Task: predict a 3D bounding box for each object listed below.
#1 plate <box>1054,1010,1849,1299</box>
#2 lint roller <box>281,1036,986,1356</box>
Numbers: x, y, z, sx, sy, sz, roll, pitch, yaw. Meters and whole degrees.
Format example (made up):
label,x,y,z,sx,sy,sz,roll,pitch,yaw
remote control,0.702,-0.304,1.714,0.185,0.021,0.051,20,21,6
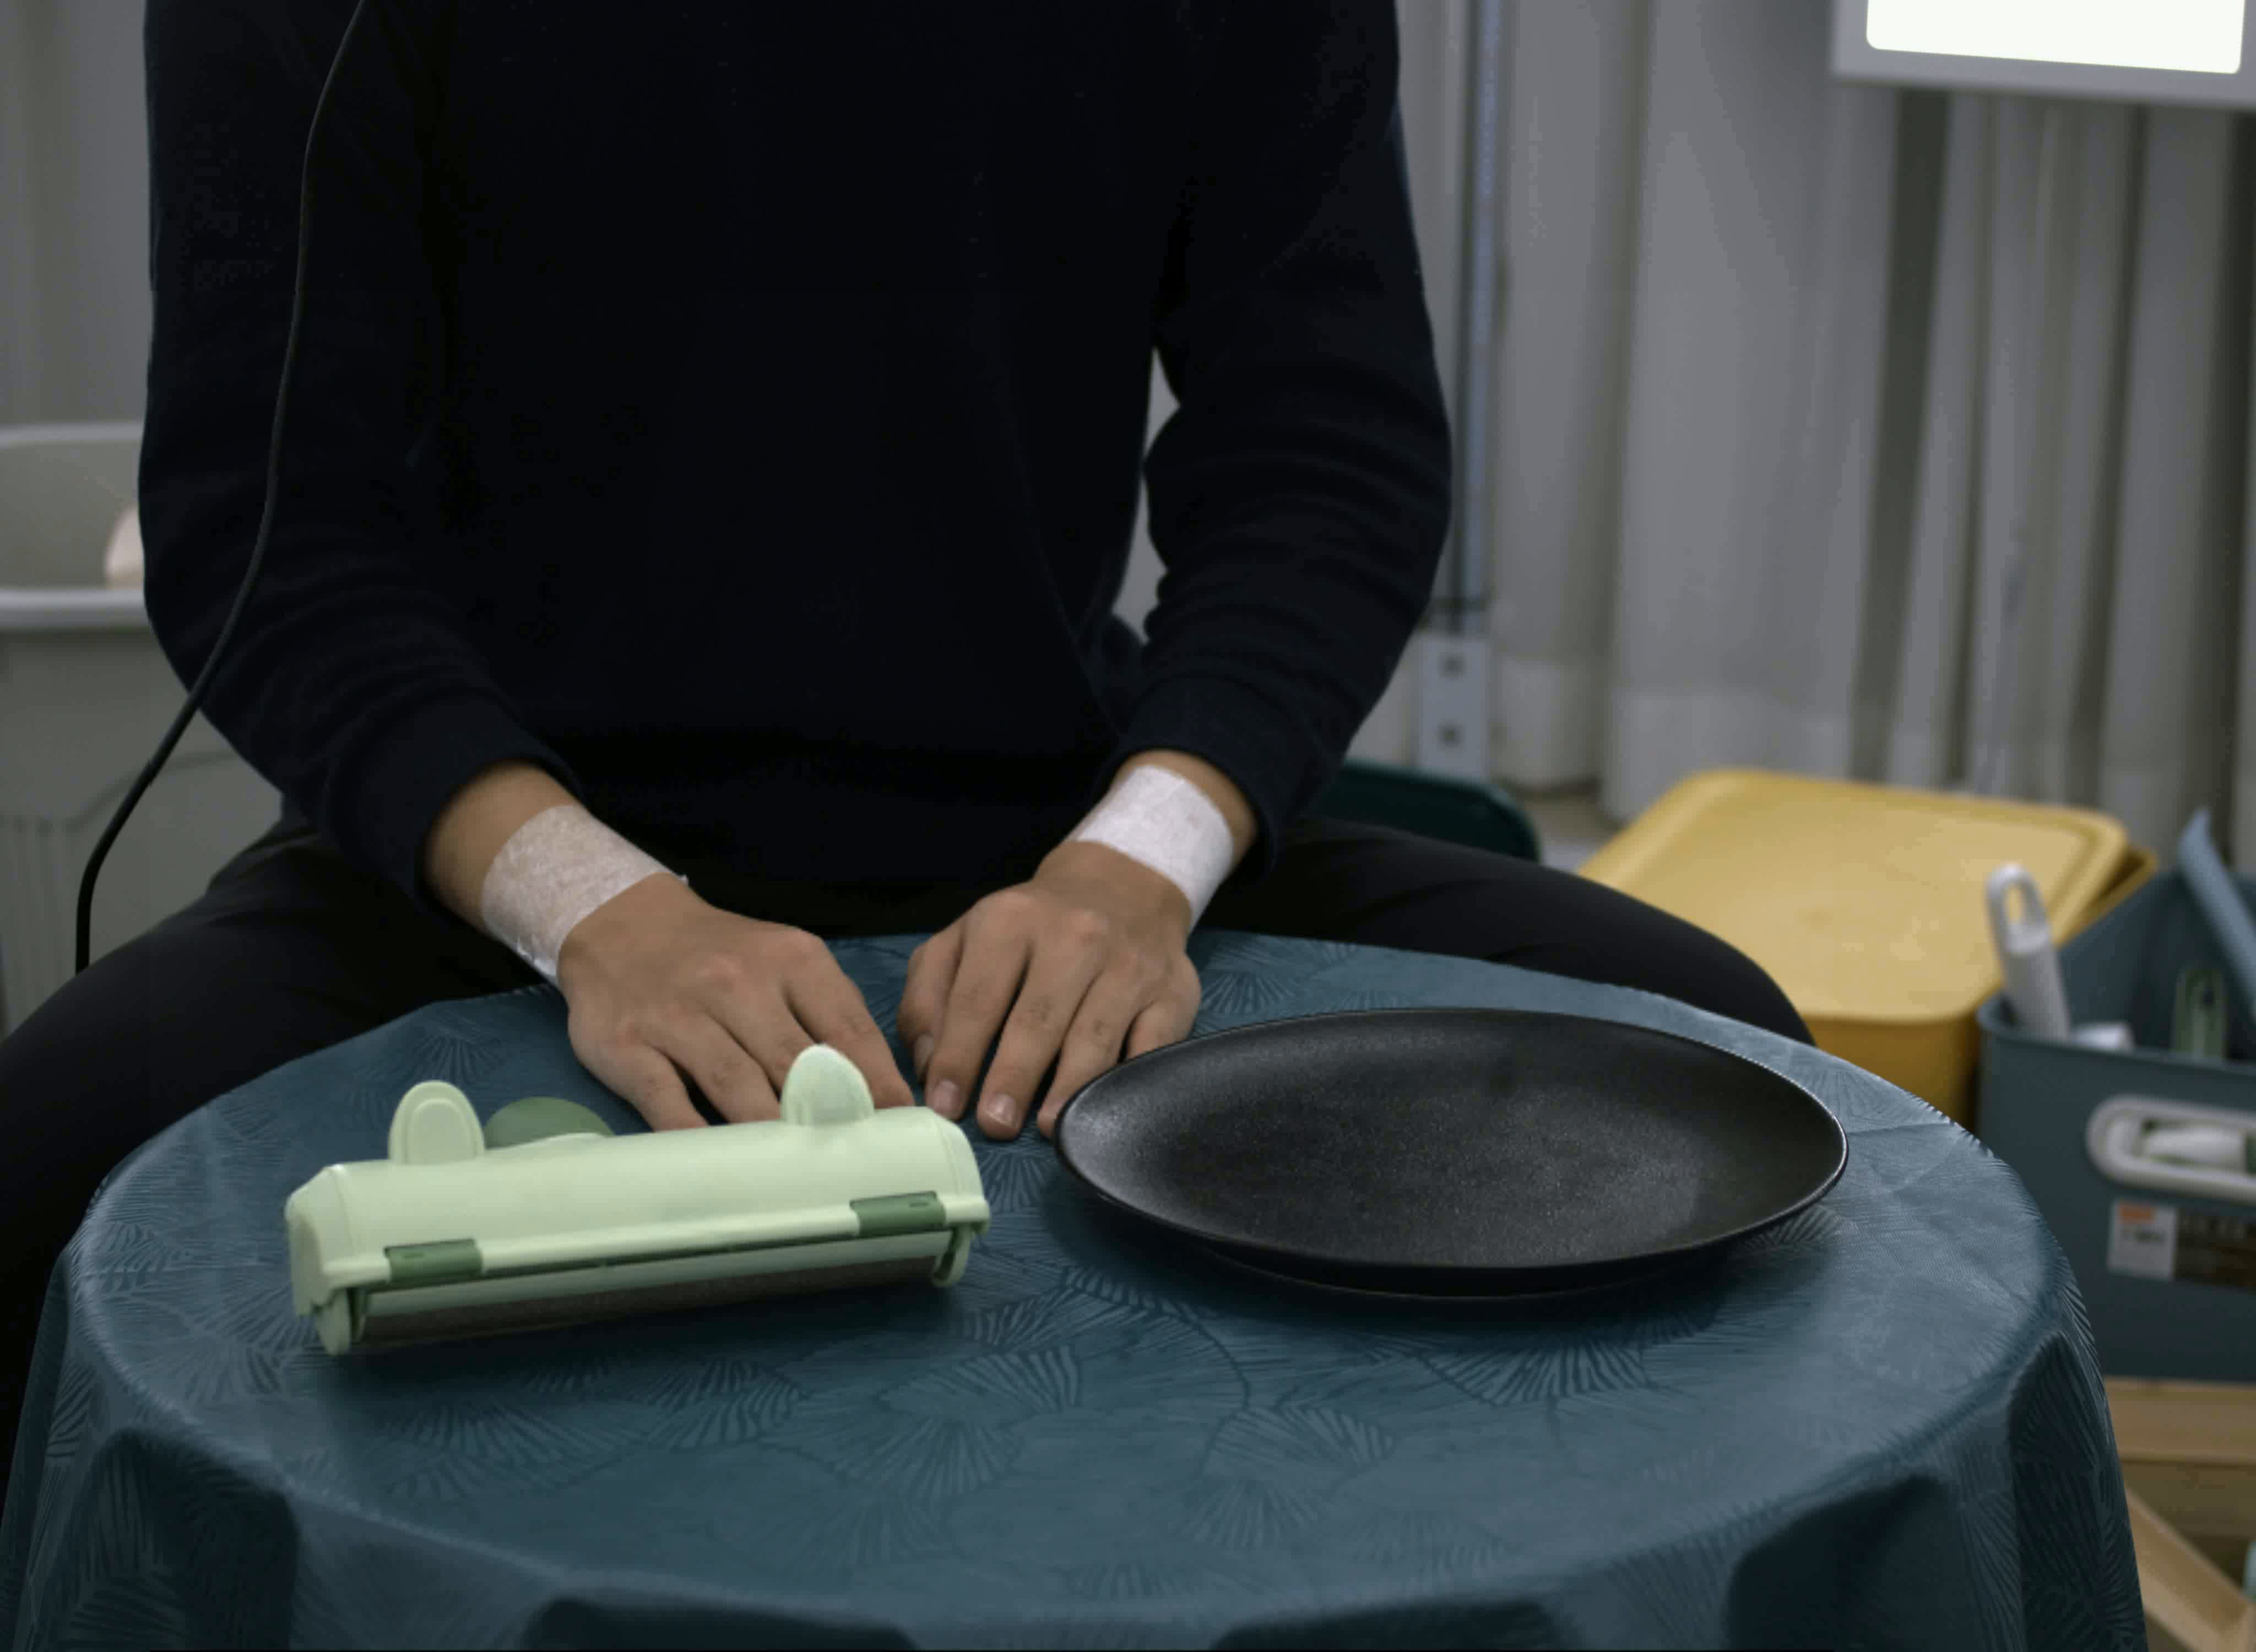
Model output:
label,x,y,z,sx,sy,sz,roll,pitch,yaw
plate,0.099,0.103,1.615,0.243,0.023,0.243,1,16,0
lint roller,-0.160,0.087,1.546,0.199,0.083,0.181,-4,23,-21
